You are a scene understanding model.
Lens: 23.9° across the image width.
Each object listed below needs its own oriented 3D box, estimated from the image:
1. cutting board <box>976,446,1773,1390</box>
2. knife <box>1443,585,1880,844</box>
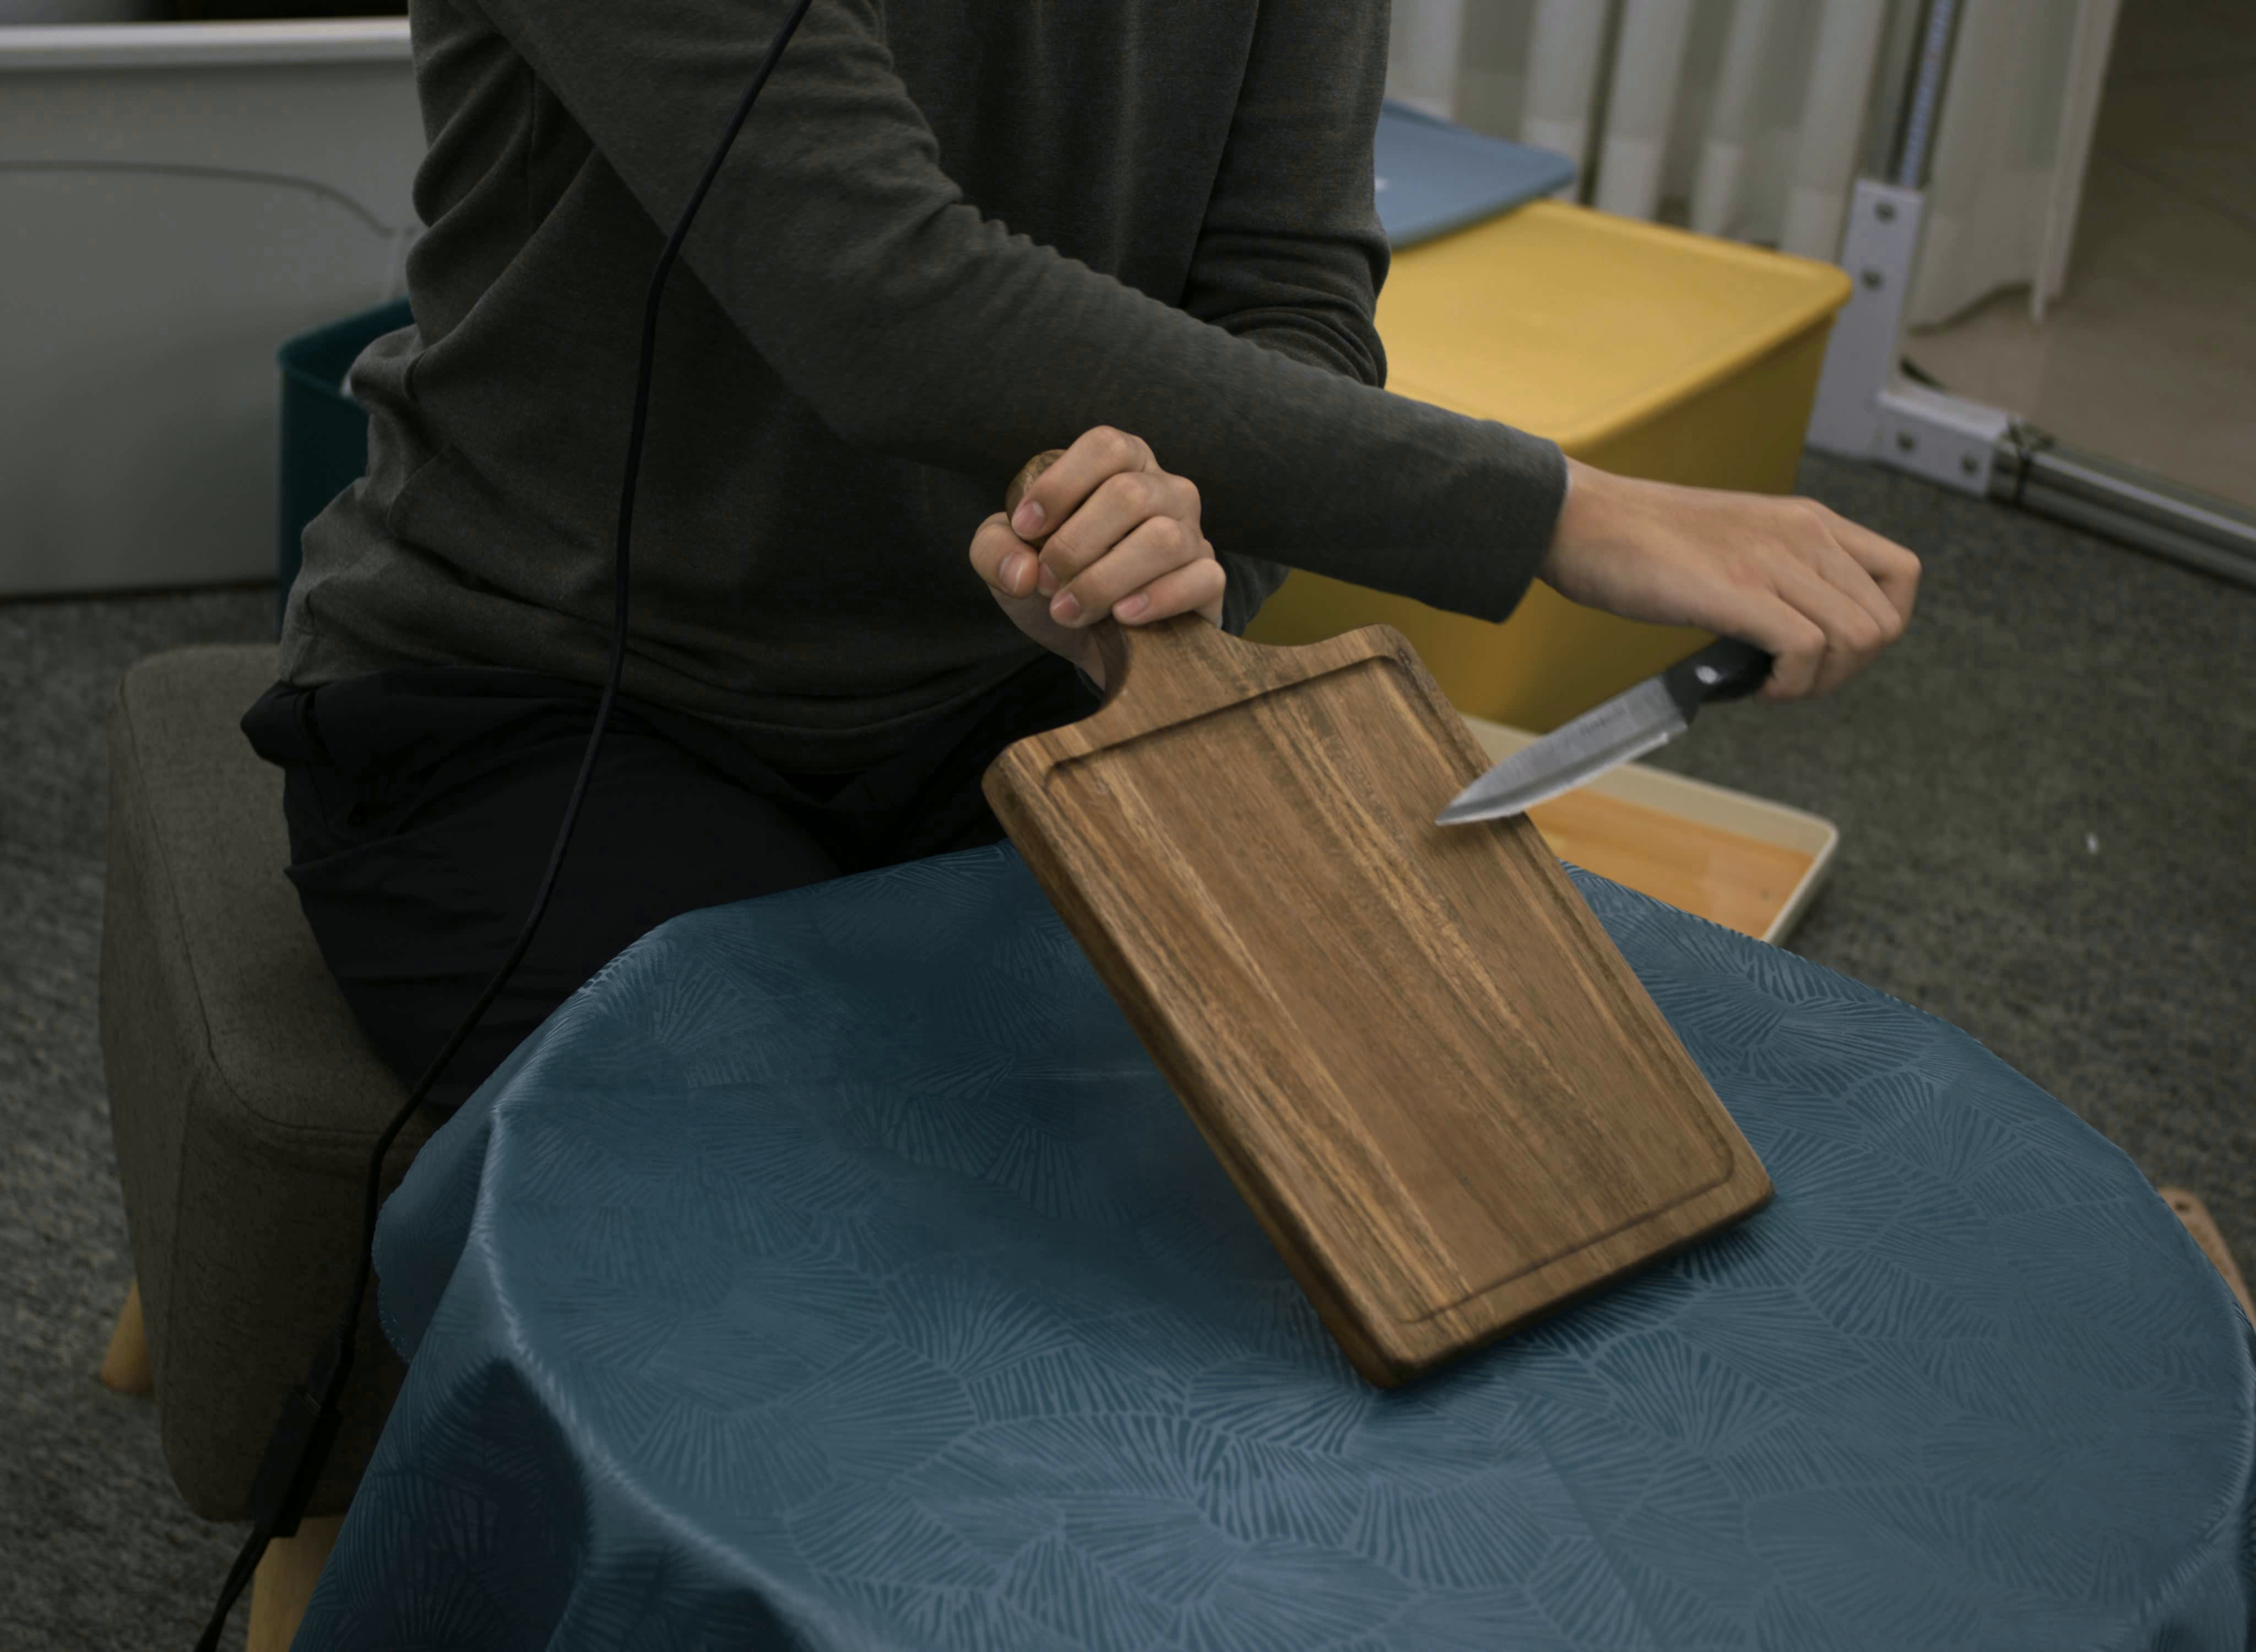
[{"bbox_3d":[0.059,0.014,1.813,0.200,0.023,0.354,-19,68,-41],"label":"cutting board"},{"bbox_3d":[0.190,-0.040,1.899,0.237,0.016,0.024,-28,78,-38],"label":"knife"}]
